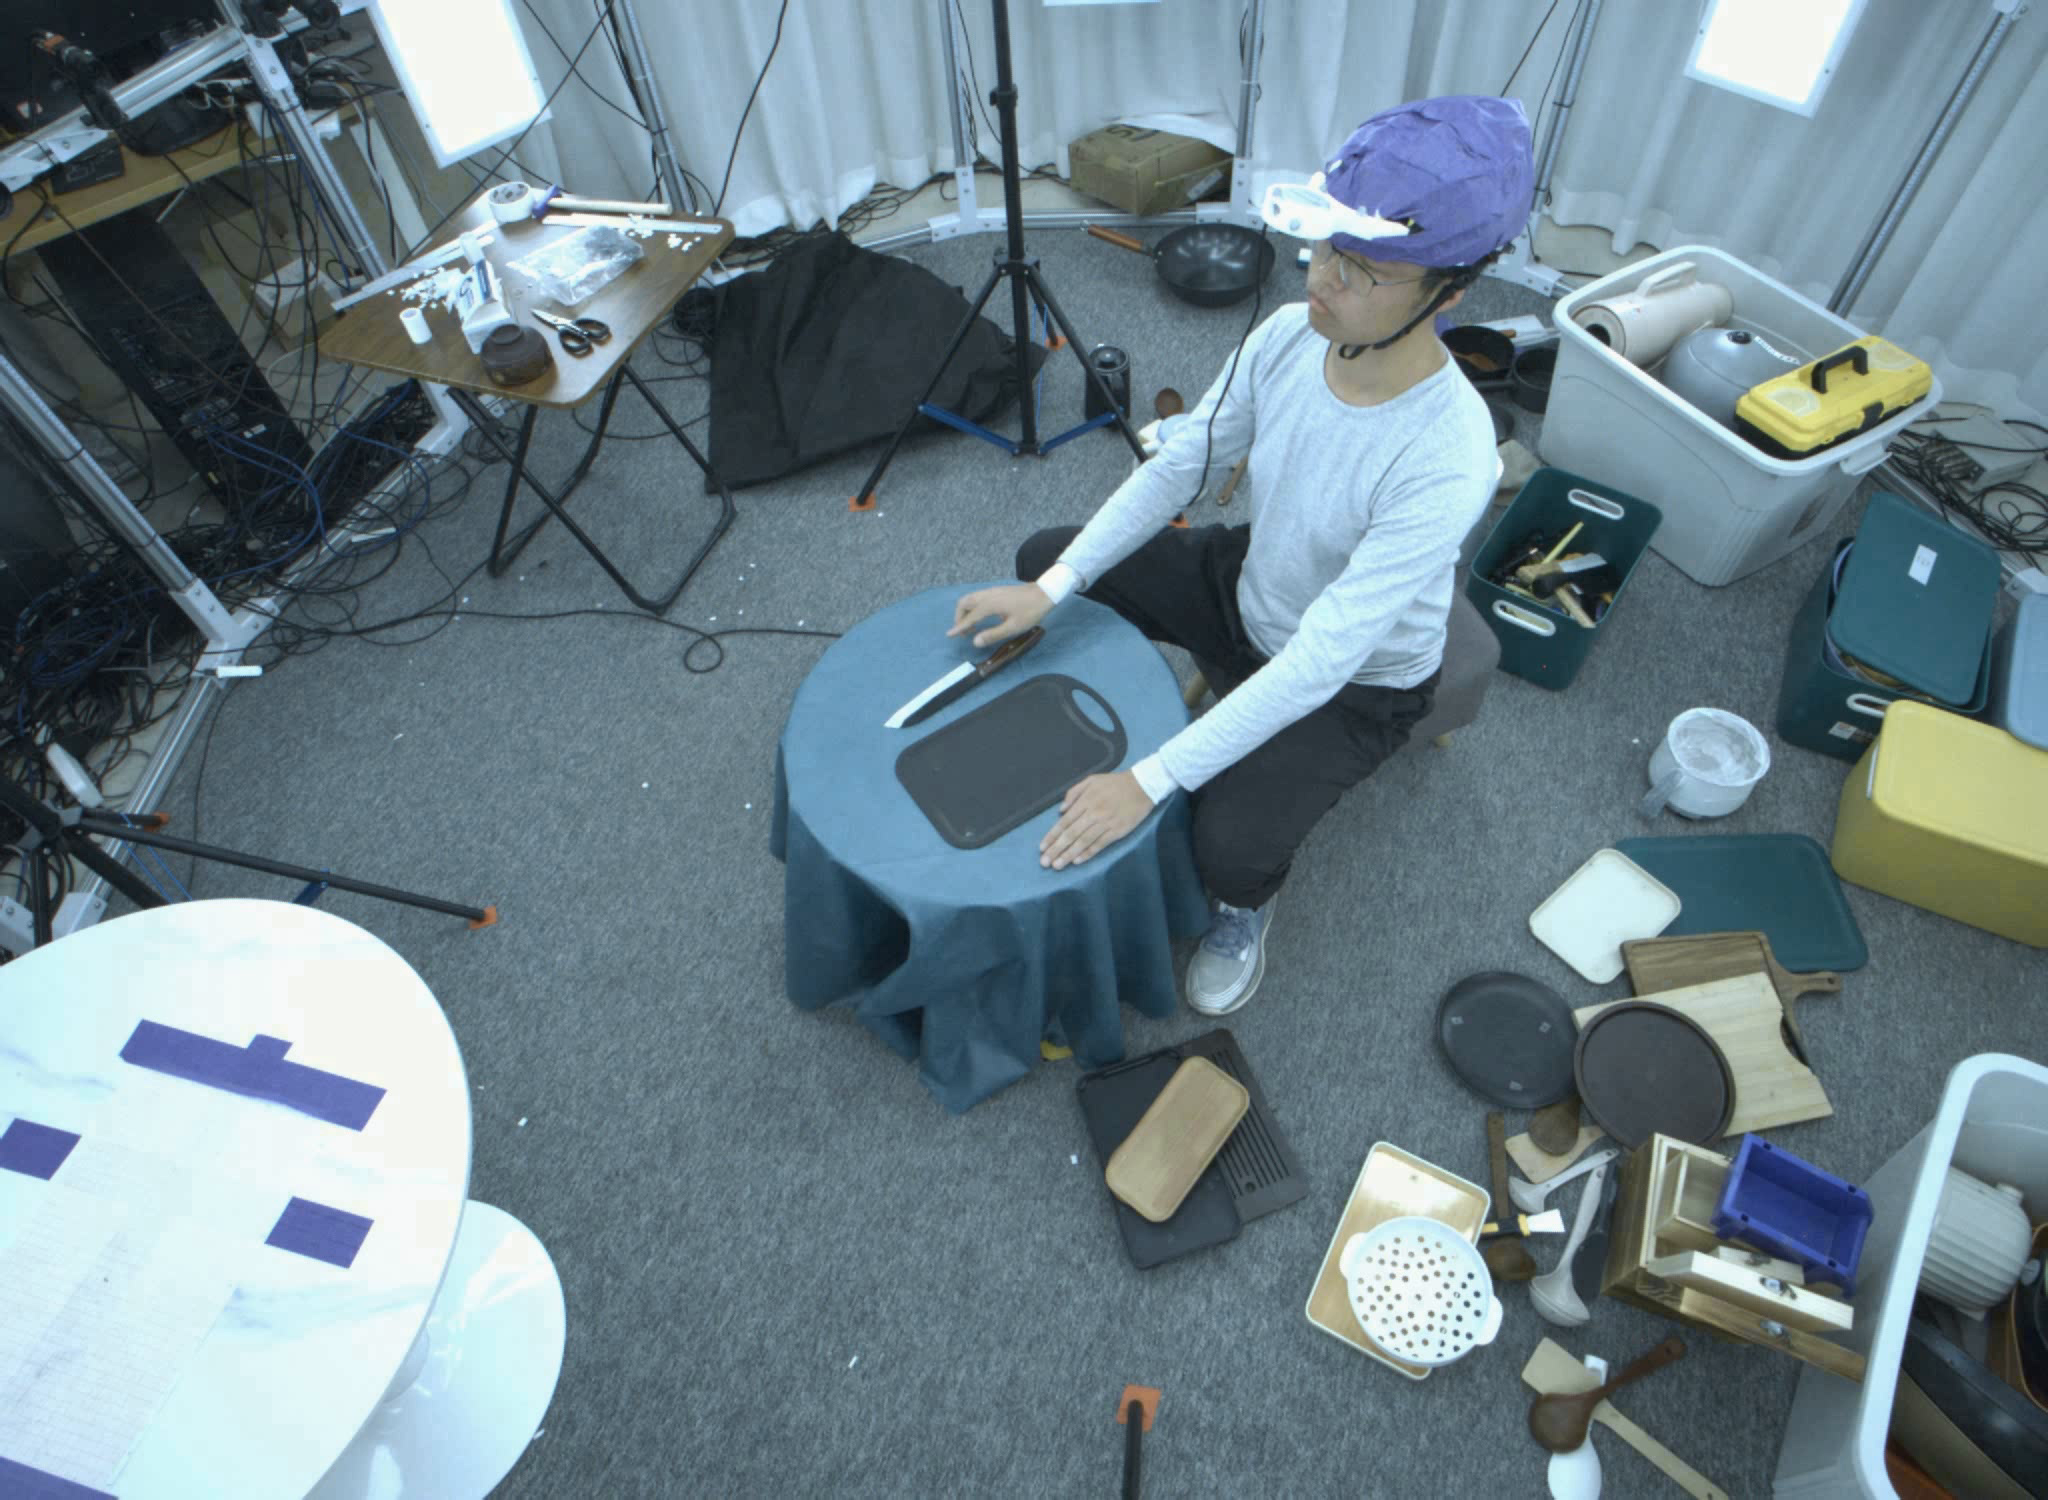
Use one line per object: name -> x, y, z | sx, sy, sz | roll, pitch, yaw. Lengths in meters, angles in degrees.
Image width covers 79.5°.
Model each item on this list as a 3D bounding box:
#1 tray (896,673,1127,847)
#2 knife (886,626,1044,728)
tray -> -0.012, 0.003, 1.789 | 0.328, 0.010, 0.207 | -29, 59, -18
knife -> -0.089, -0.110, 1.867 | 0.291, 0.020, 0.049 | -34, 55, -18
